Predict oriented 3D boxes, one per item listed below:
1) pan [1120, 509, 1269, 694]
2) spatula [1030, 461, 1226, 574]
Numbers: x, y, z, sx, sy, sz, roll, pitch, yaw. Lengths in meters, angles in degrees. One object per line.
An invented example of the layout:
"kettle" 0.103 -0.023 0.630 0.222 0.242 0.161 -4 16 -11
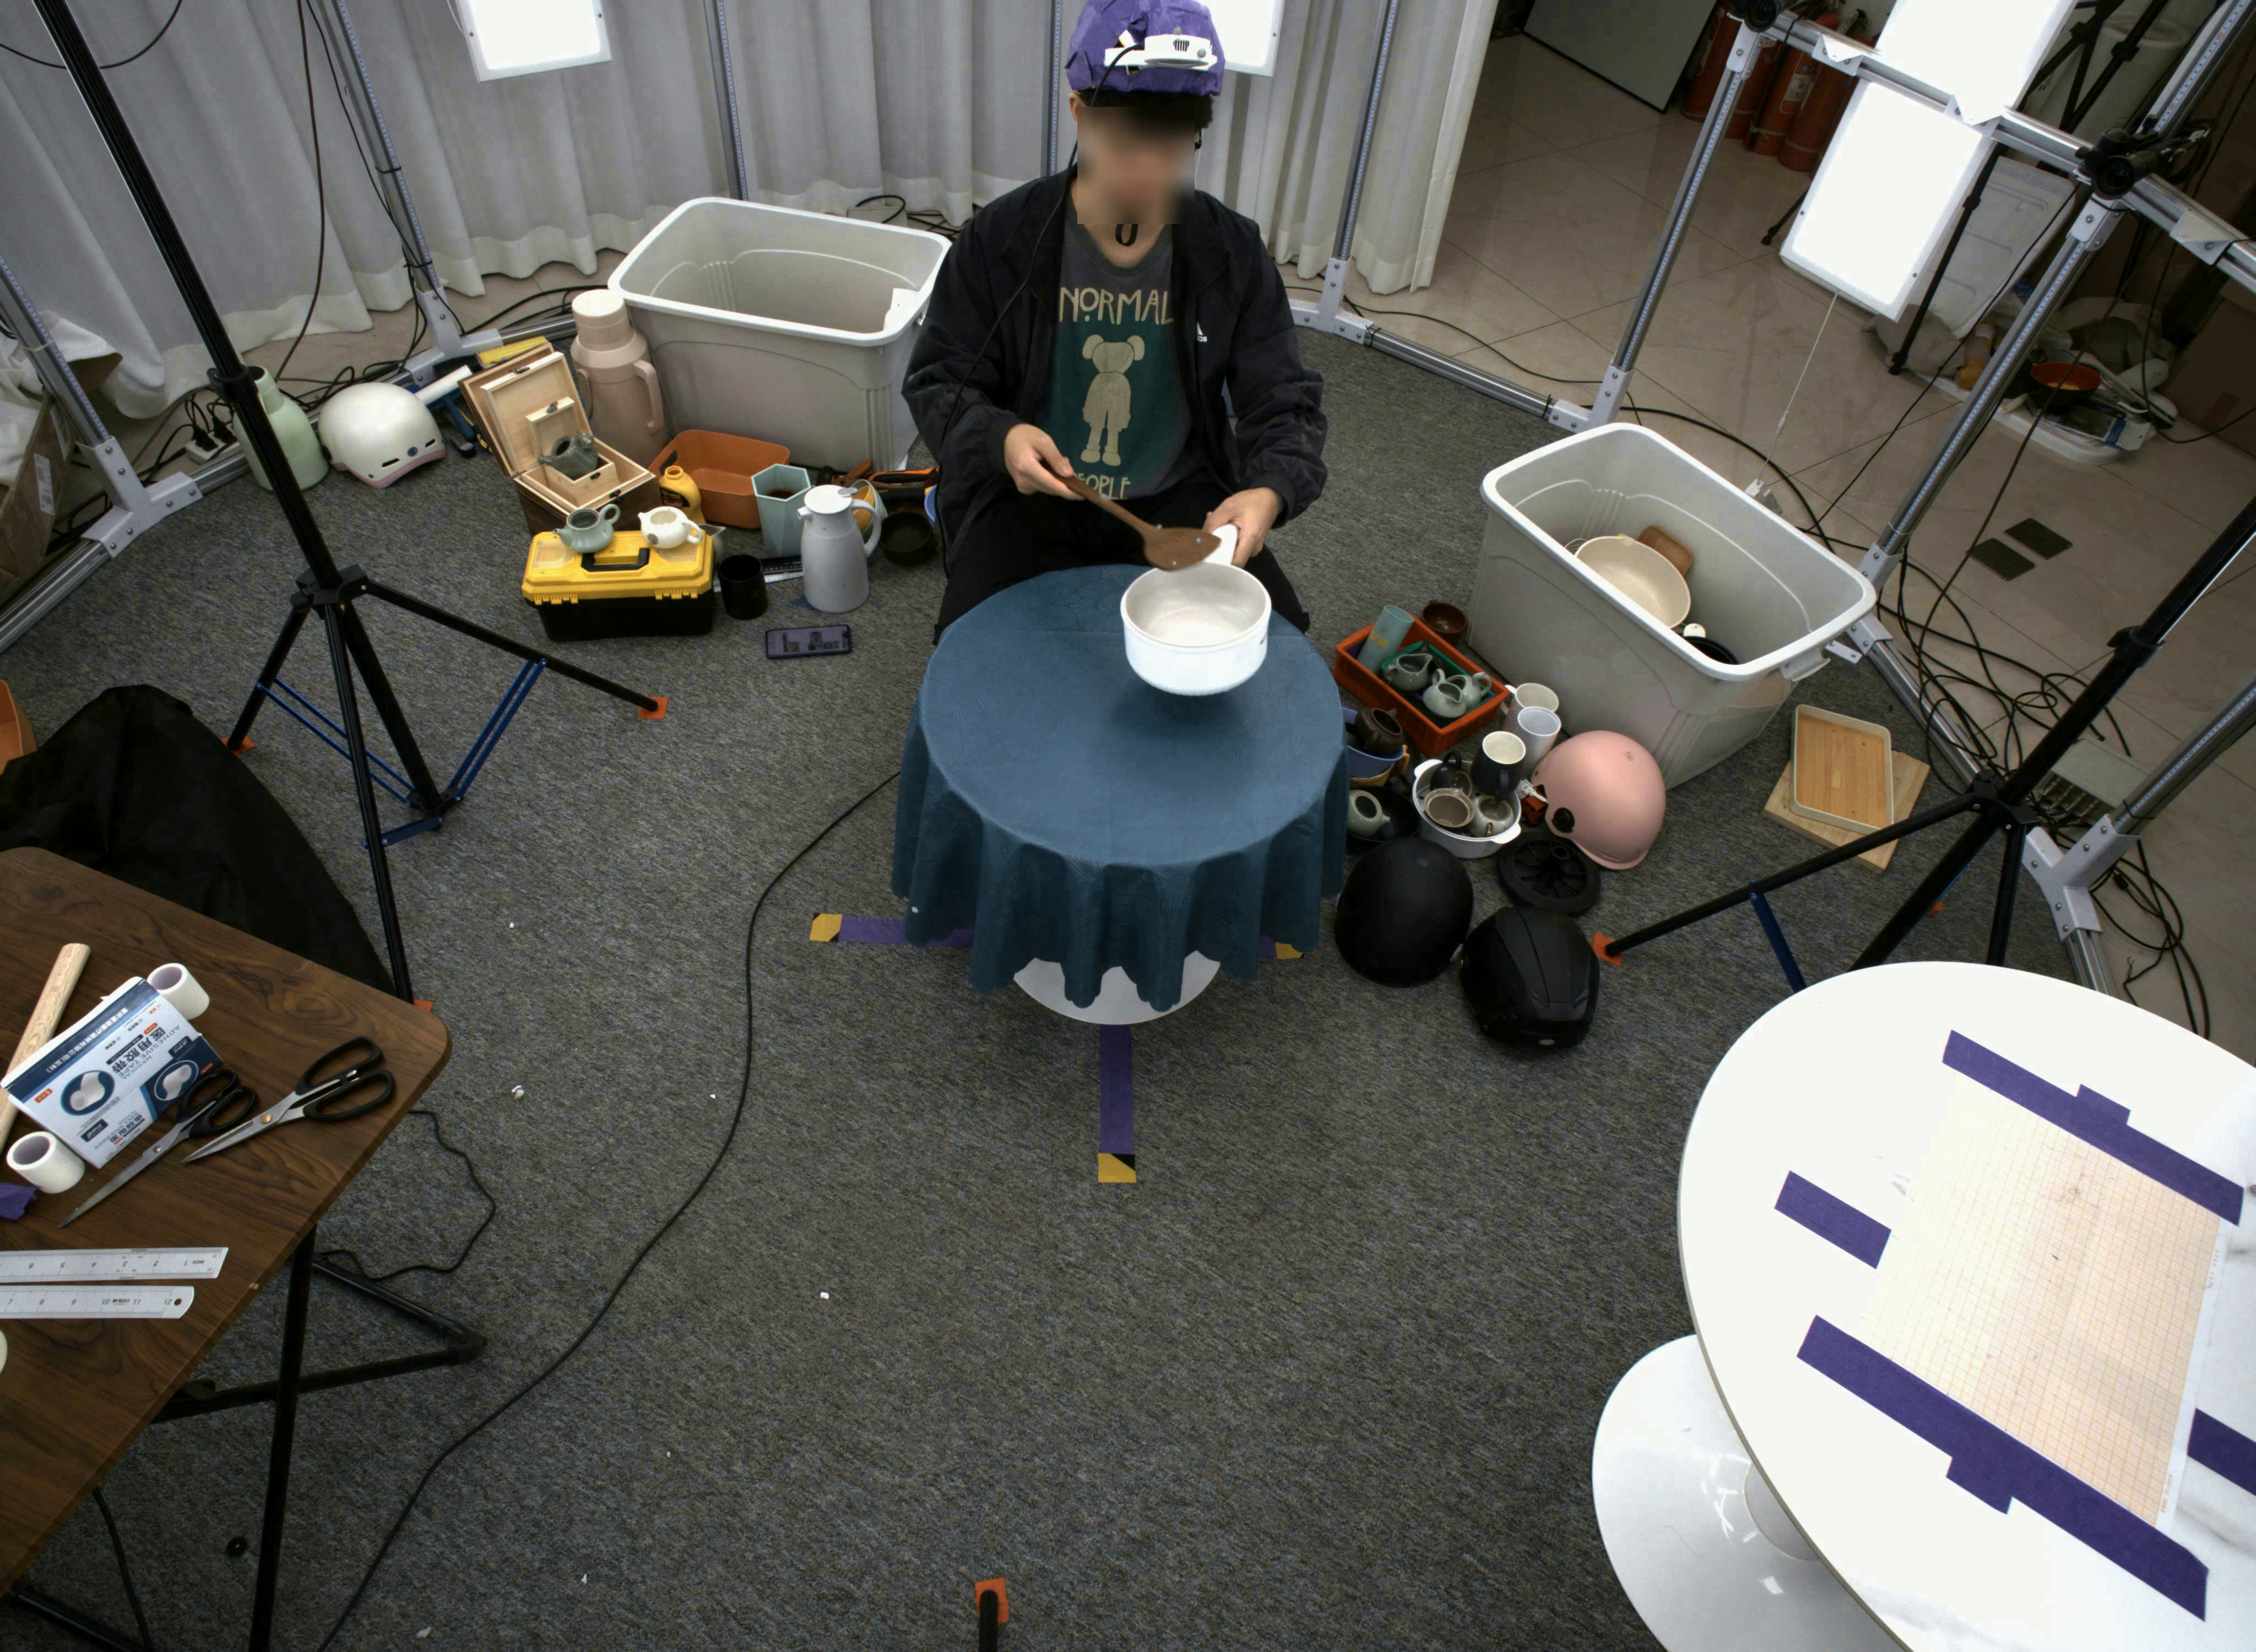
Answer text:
"pan" 0.112 -0.317 1.808 0.202 0.099 0.362 8 43 14
"spatula" -0.019 -0.435 1.778 0.097 0.015 0.393 -34 49 -21
